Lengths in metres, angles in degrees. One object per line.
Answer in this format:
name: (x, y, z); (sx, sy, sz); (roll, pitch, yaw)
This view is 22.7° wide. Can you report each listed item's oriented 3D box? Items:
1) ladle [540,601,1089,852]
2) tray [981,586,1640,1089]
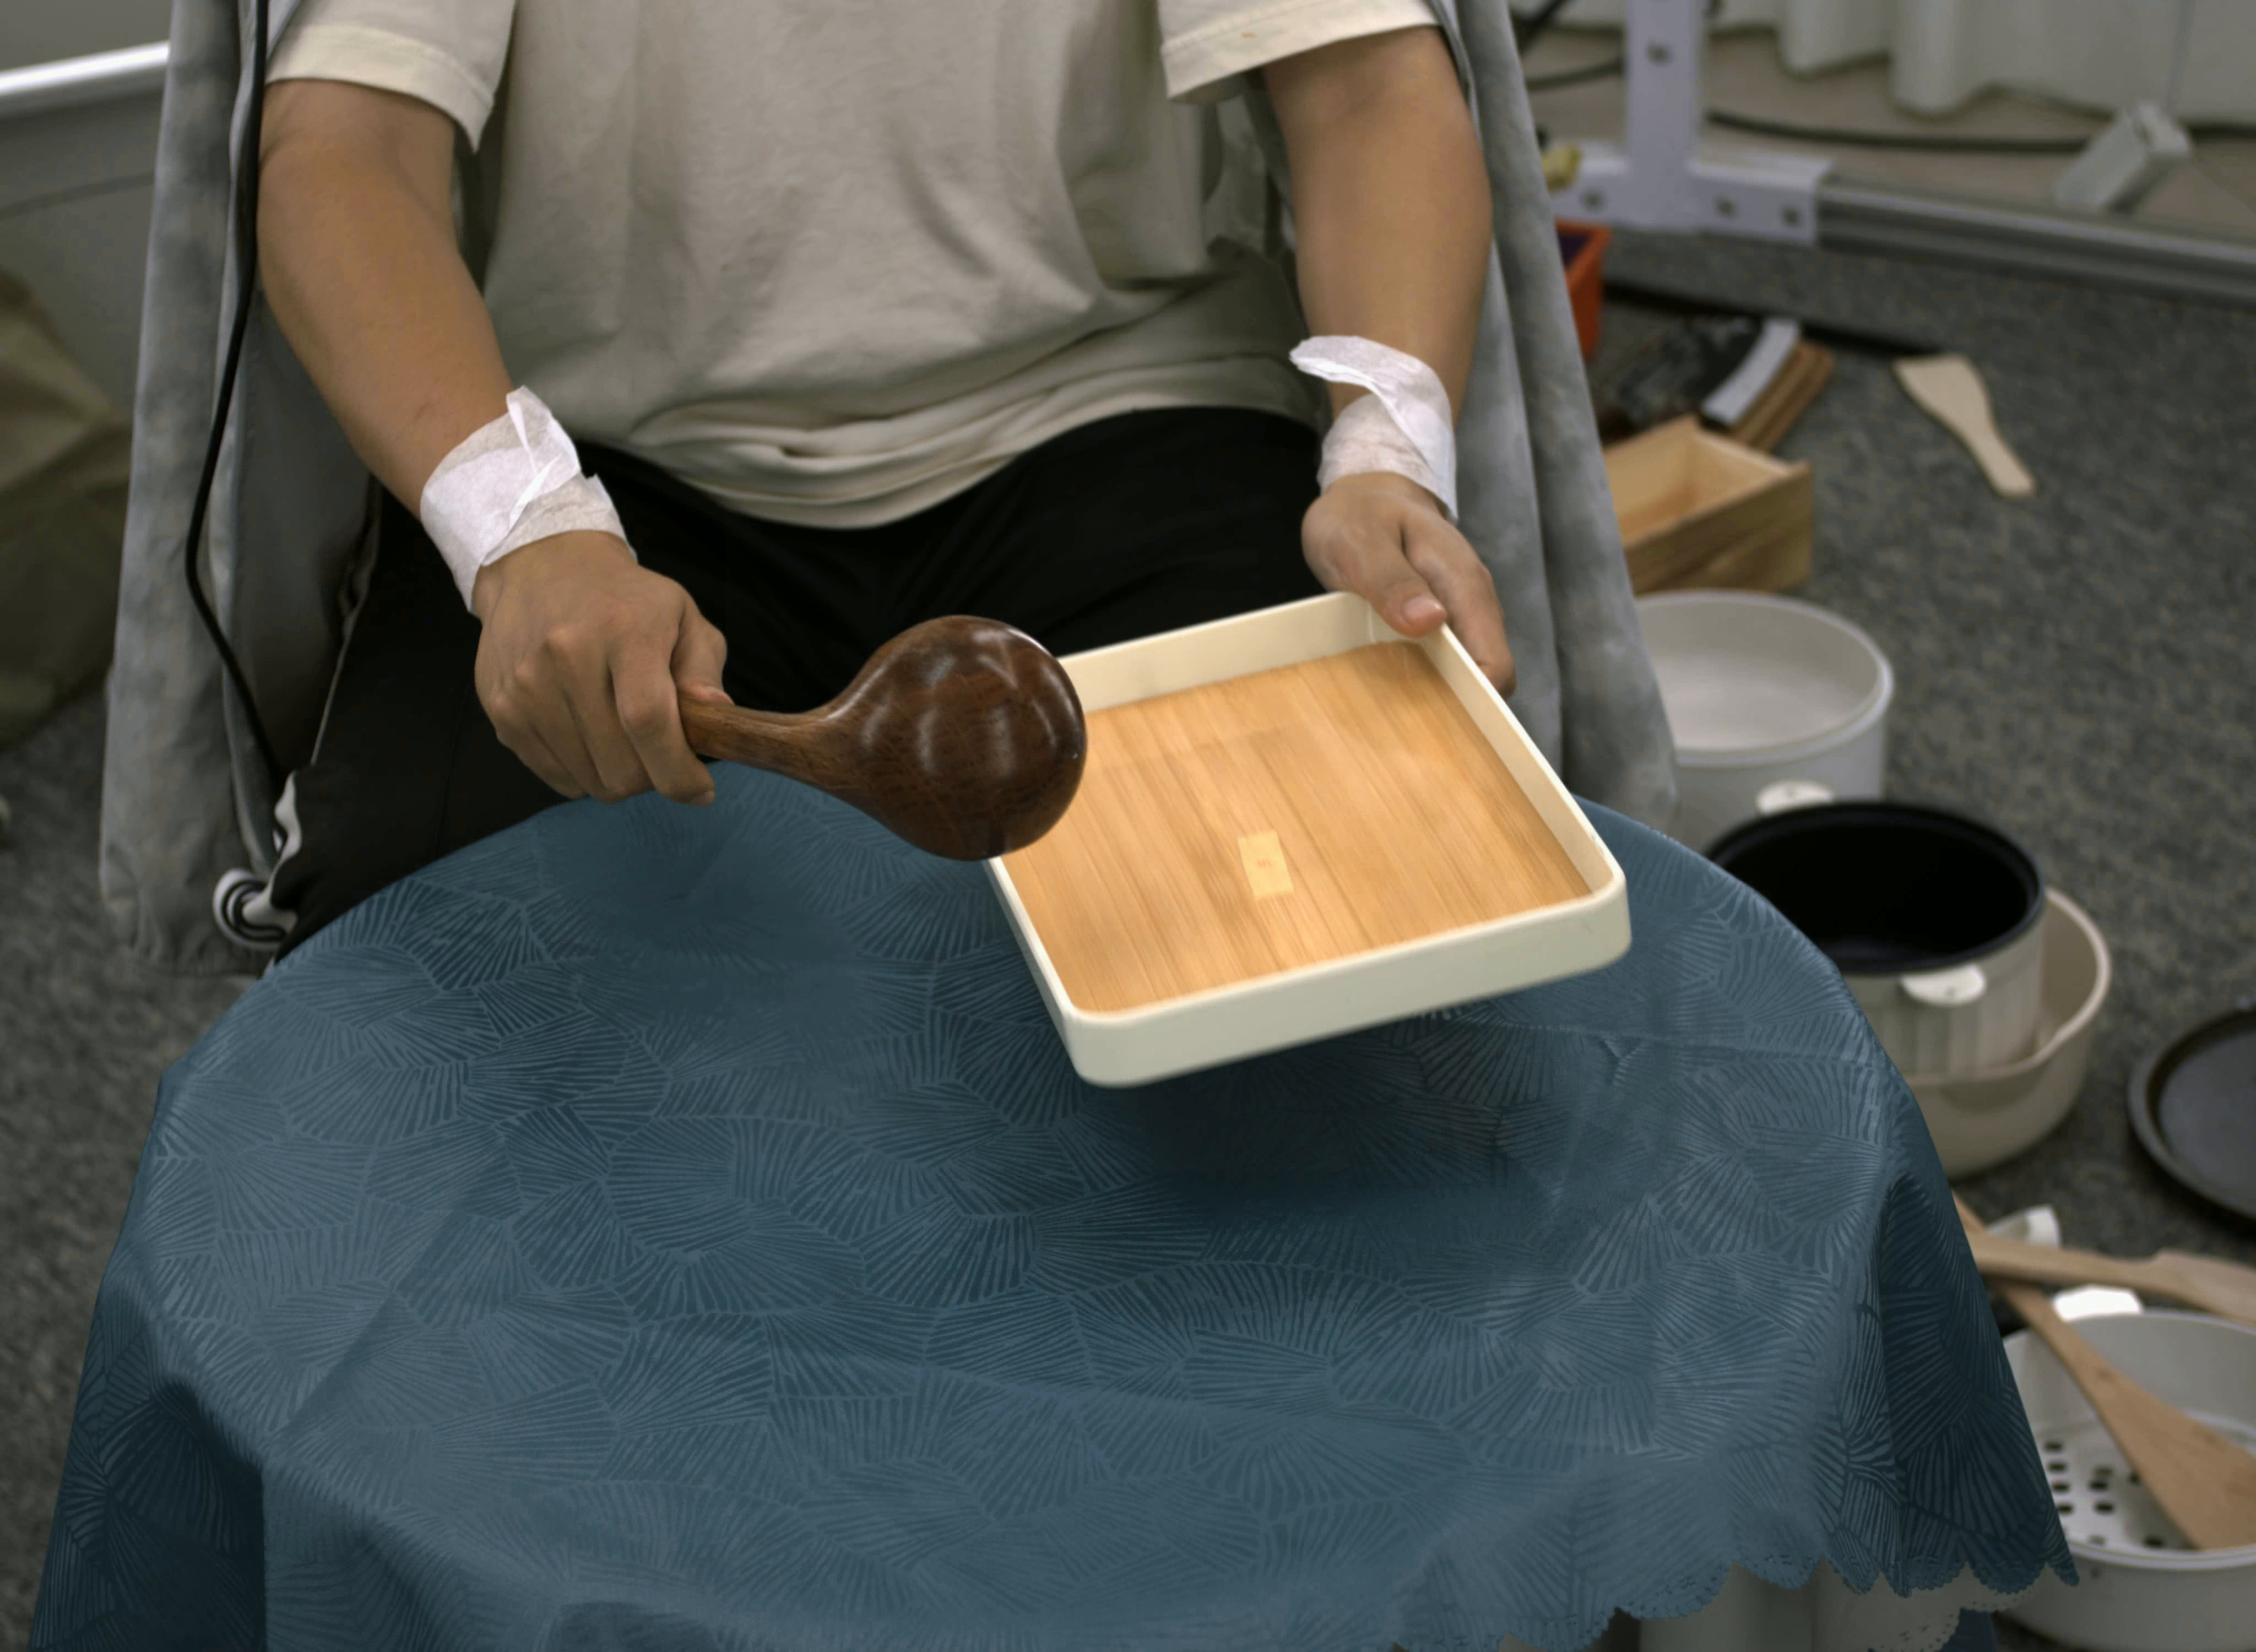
ladle: (-0.109, -0.038, 1.916); (0.077, 0.082, 0.272); (-7, 7, -31)
tray: (0.048, -0.001, 1.938); (0.191, 0.027, 0.303); (-14, 24, -6)
